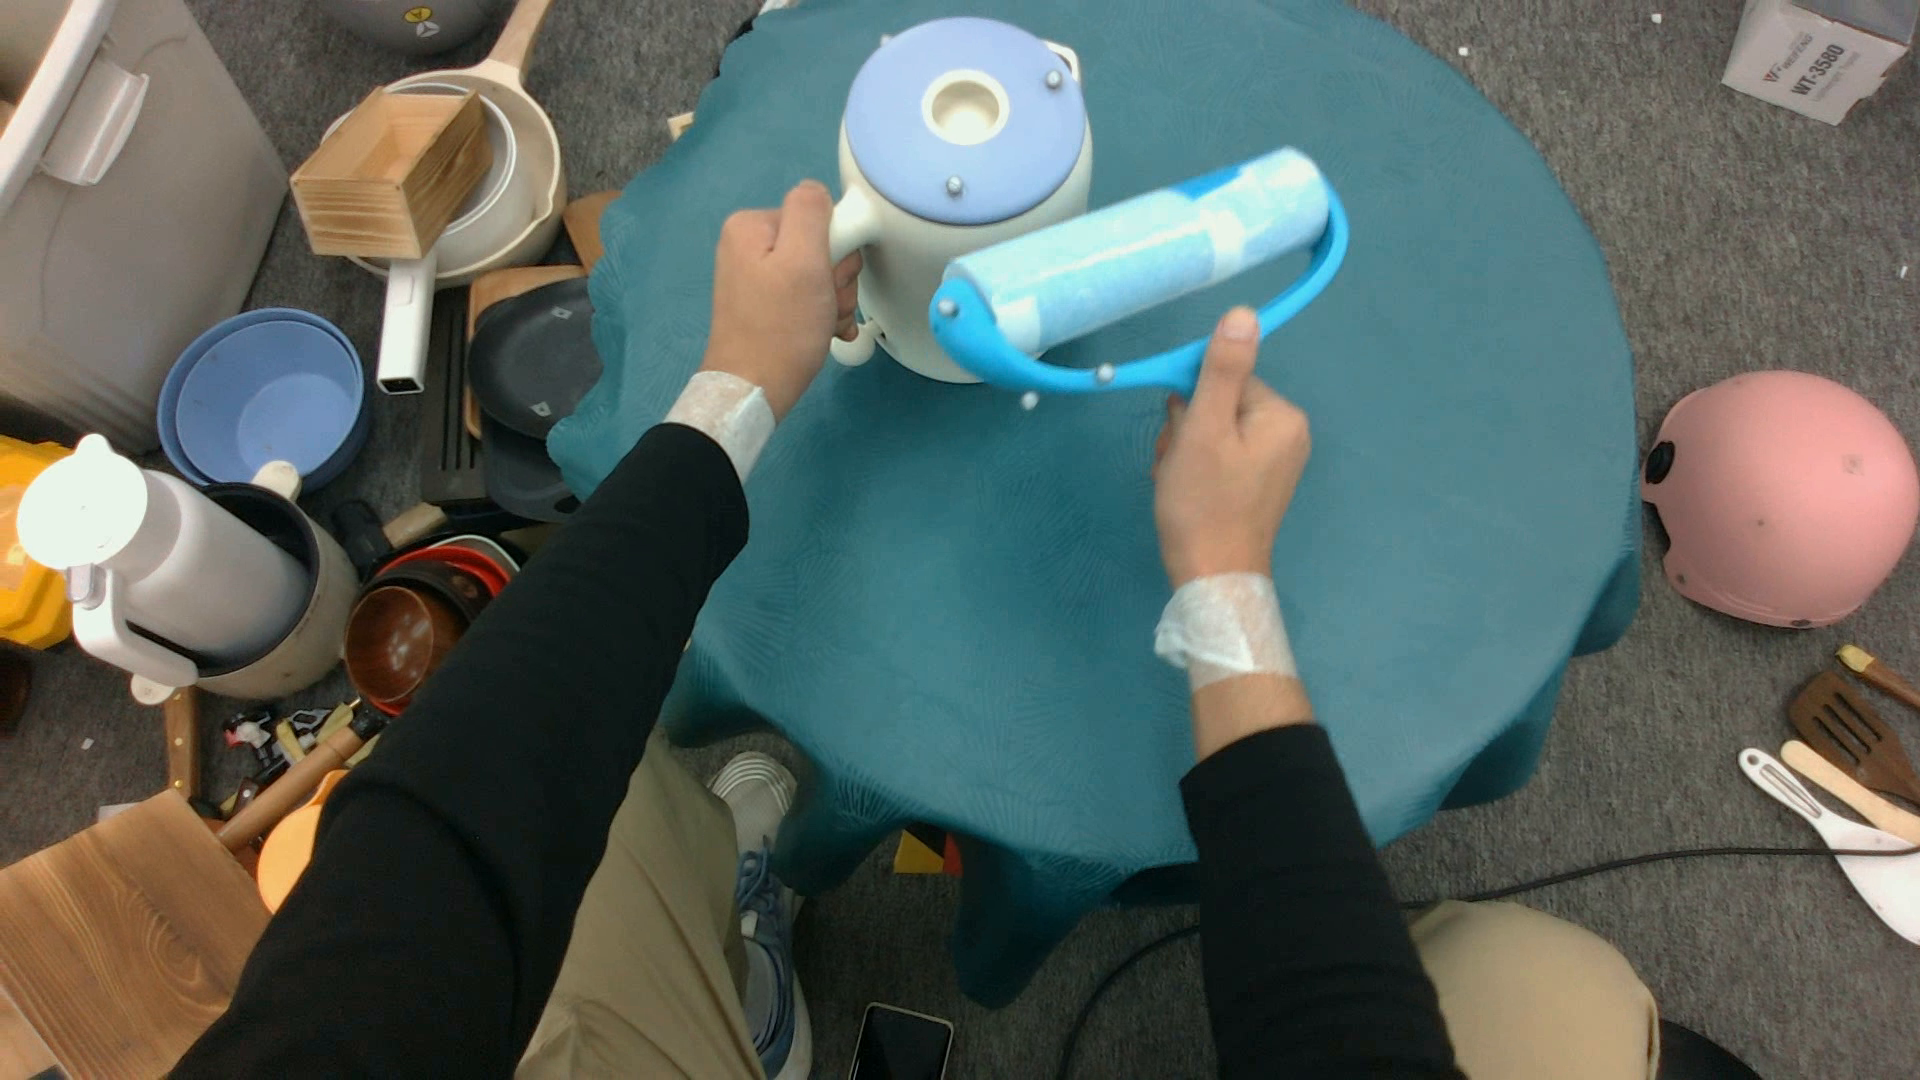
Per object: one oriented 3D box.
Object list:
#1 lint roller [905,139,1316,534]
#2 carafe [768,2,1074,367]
[{"bbox_3d":[0.095,-0.088,0.676,0.230,0.068,0.180,-27,103,-26],"label":"lint roller"},{"bbox_3d":[-0.026,-0.173,0.748,0.191,0.182,0.132,-38,75,-11],"label":"carafe"}]
